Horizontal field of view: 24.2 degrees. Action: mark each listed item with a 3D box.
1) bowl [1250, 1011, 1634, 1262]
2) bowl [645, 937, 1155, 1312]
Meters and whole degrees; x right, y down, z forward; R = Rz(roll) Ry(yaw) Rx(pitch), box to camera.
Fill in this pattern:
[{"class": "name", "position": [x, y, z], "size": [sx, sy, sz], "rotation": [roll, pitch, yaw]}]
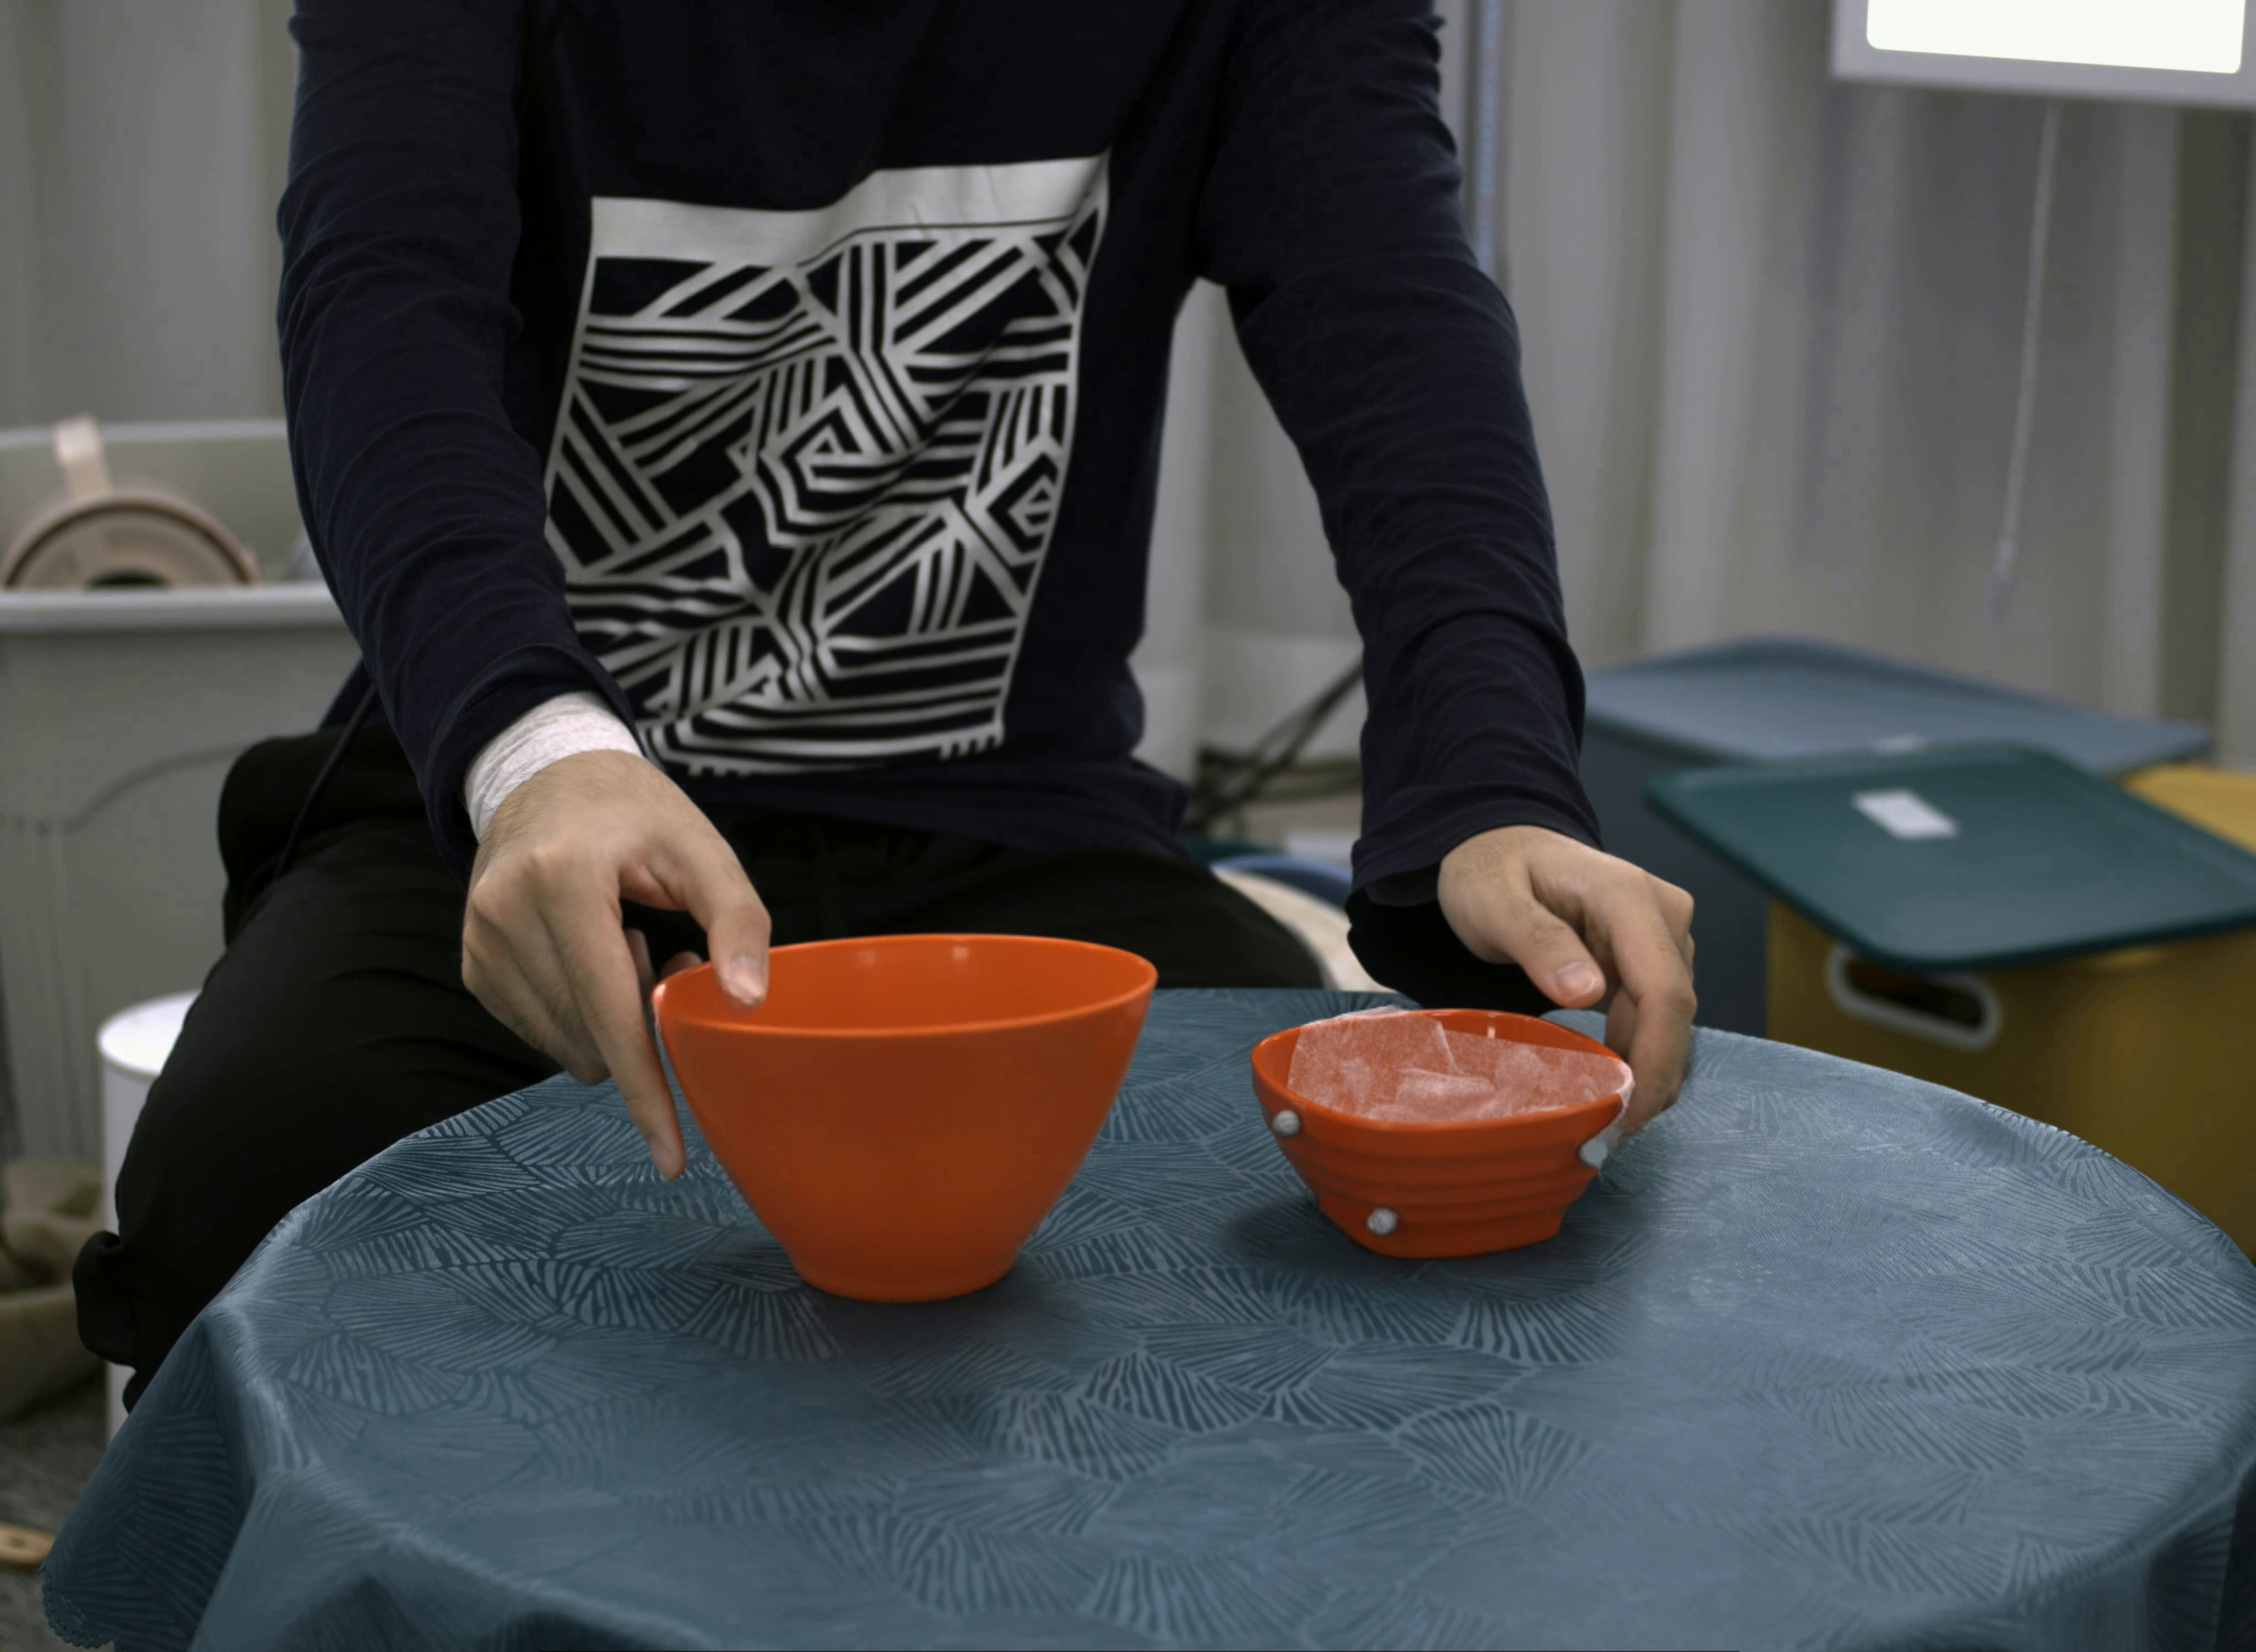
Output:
[{"class": "bowl", "position": [0.095, 0.096, 1.596], "size": [0.118, 0.052, 0.118], "rotation": [-1, 15, 1]}, {"class": "bowl", "position": [-0.065, 0.086, 1.530], "size": [0.147, 0.105, 0.147], "rotation": [0, 19, 1]}]
